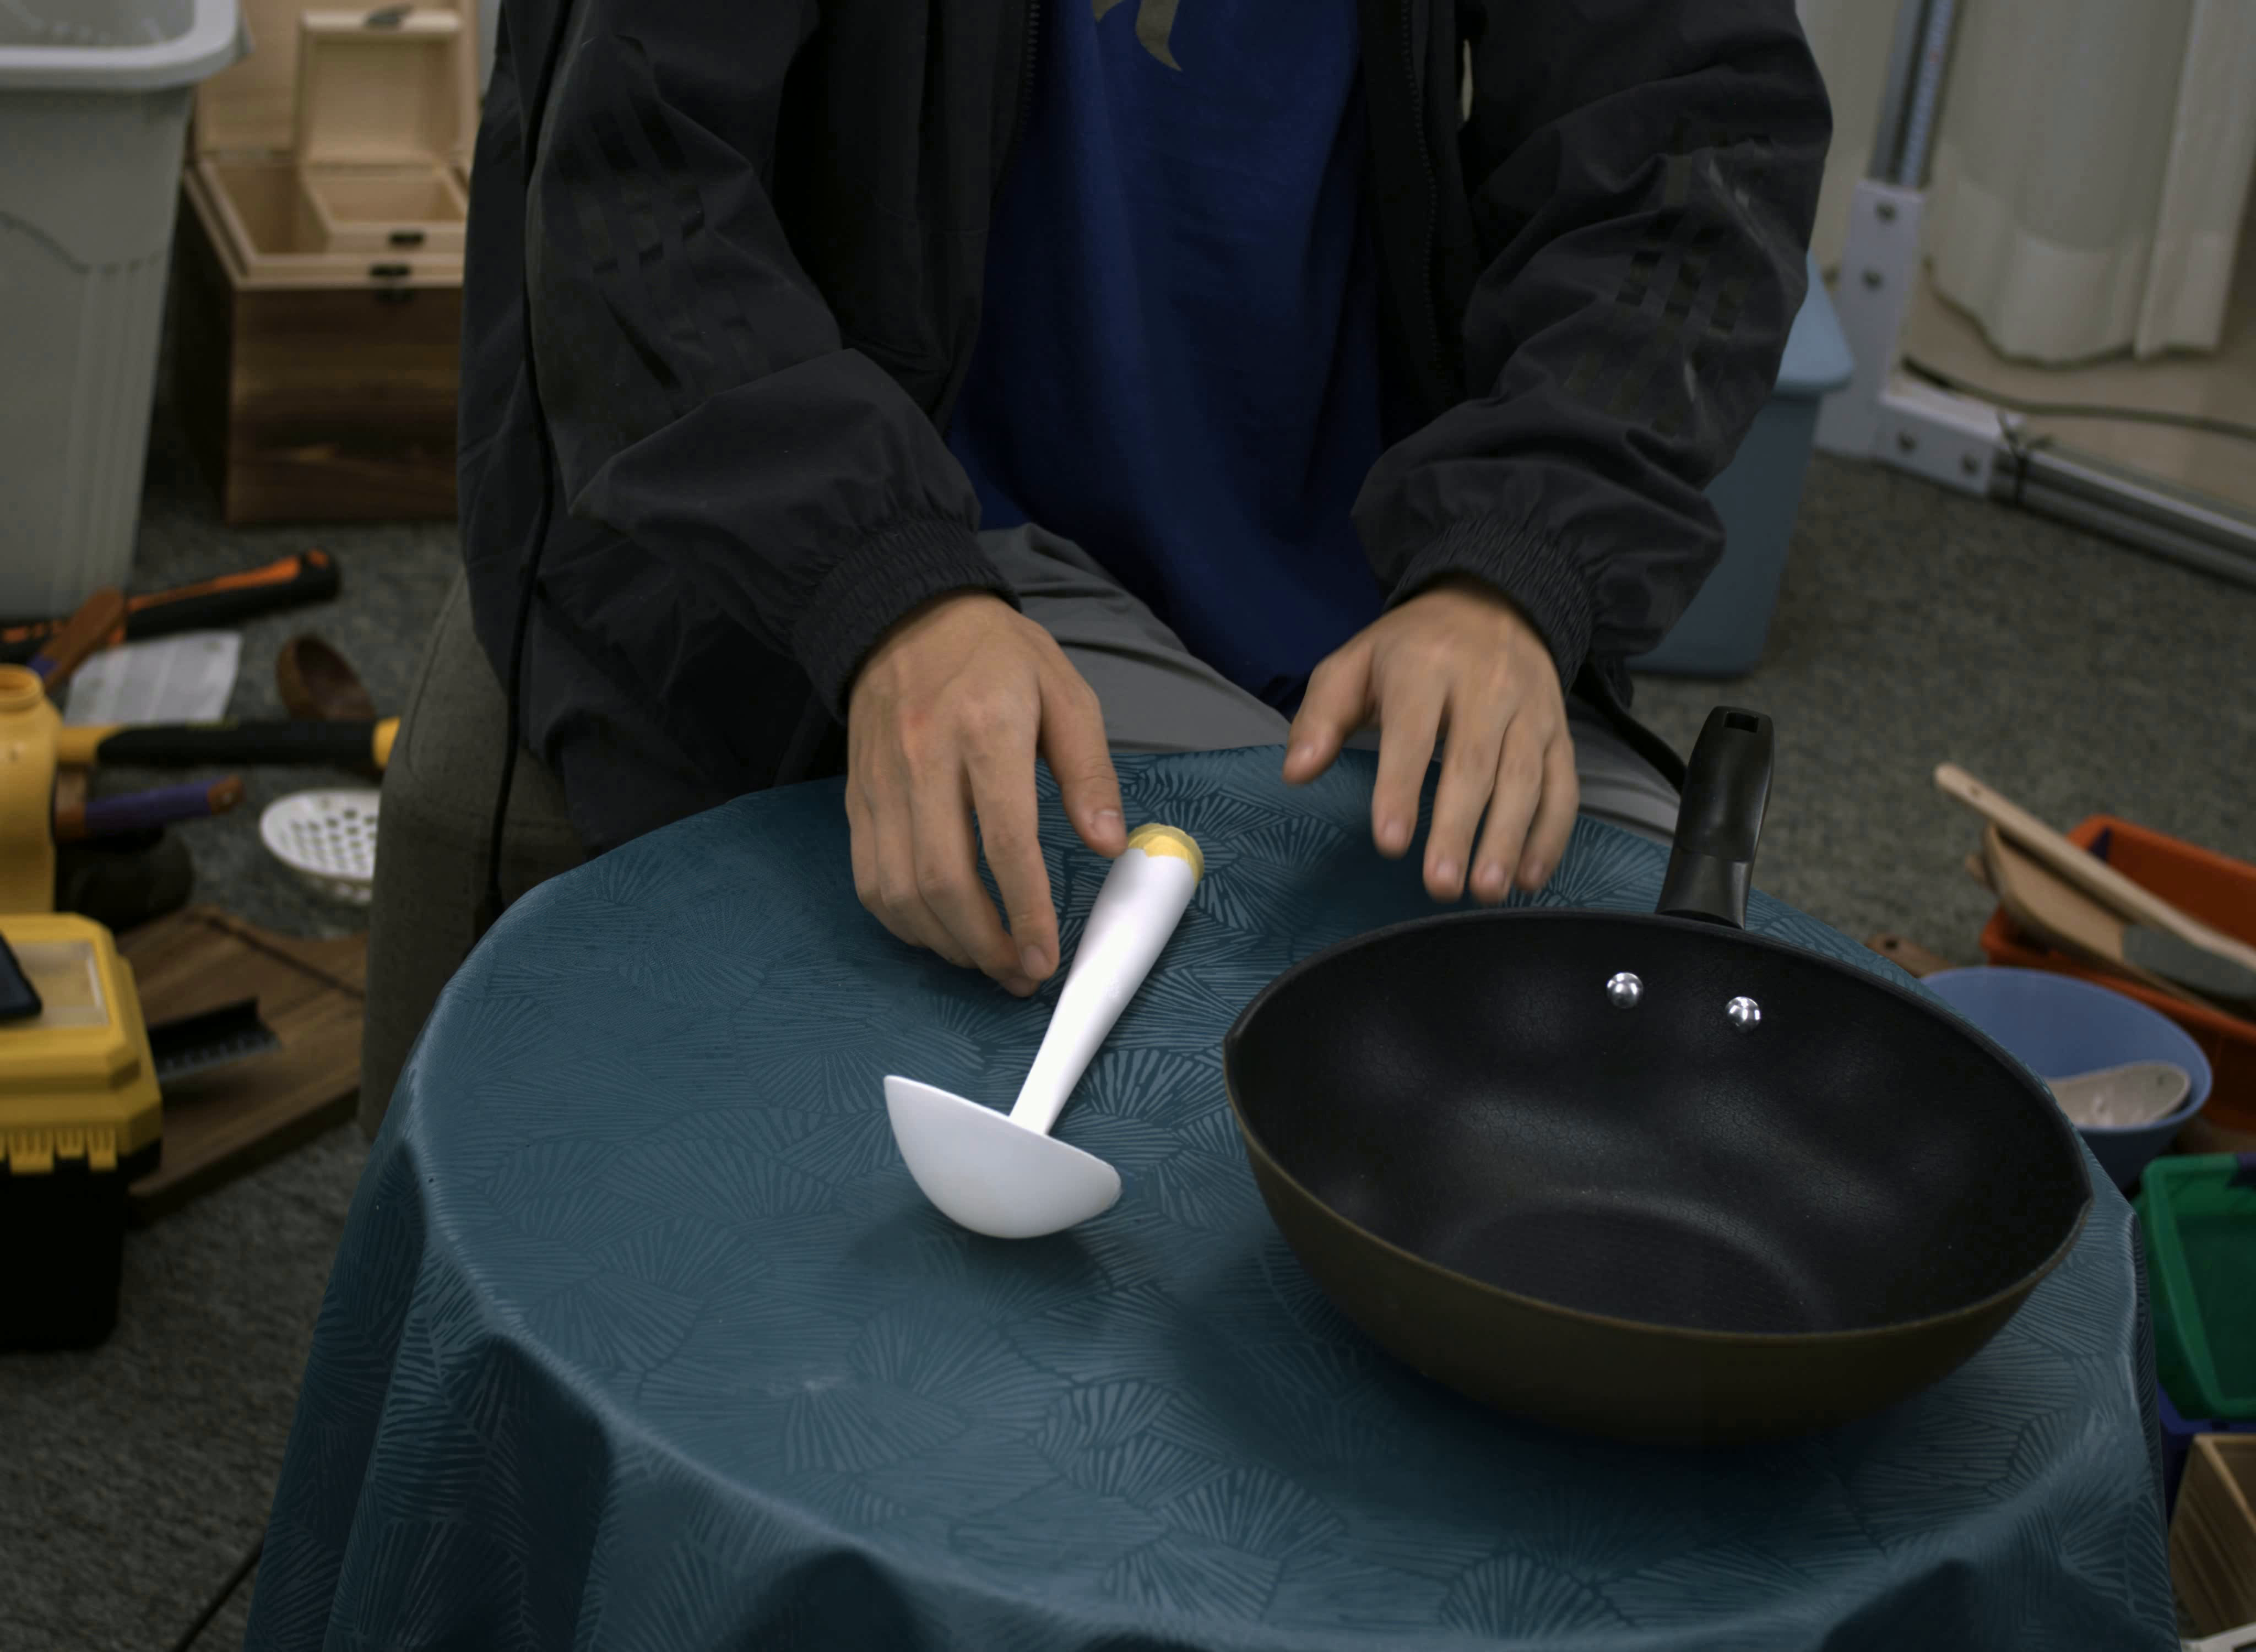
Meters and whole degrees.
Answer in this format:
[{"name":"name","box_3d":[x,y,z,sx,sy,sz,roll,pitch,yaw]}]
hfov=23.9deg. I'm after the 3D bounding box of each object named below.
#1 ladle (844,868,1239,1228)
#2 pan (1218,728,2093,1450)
[{"name":"ladle","box_3d":[-0.016,0.064,1.852,0.090,0.070,0.293,13,25,14]},{"name":"pan","box_3d":[0.184,0.088,1.825,0.288,0.086,0.465,11,26,8]}]
